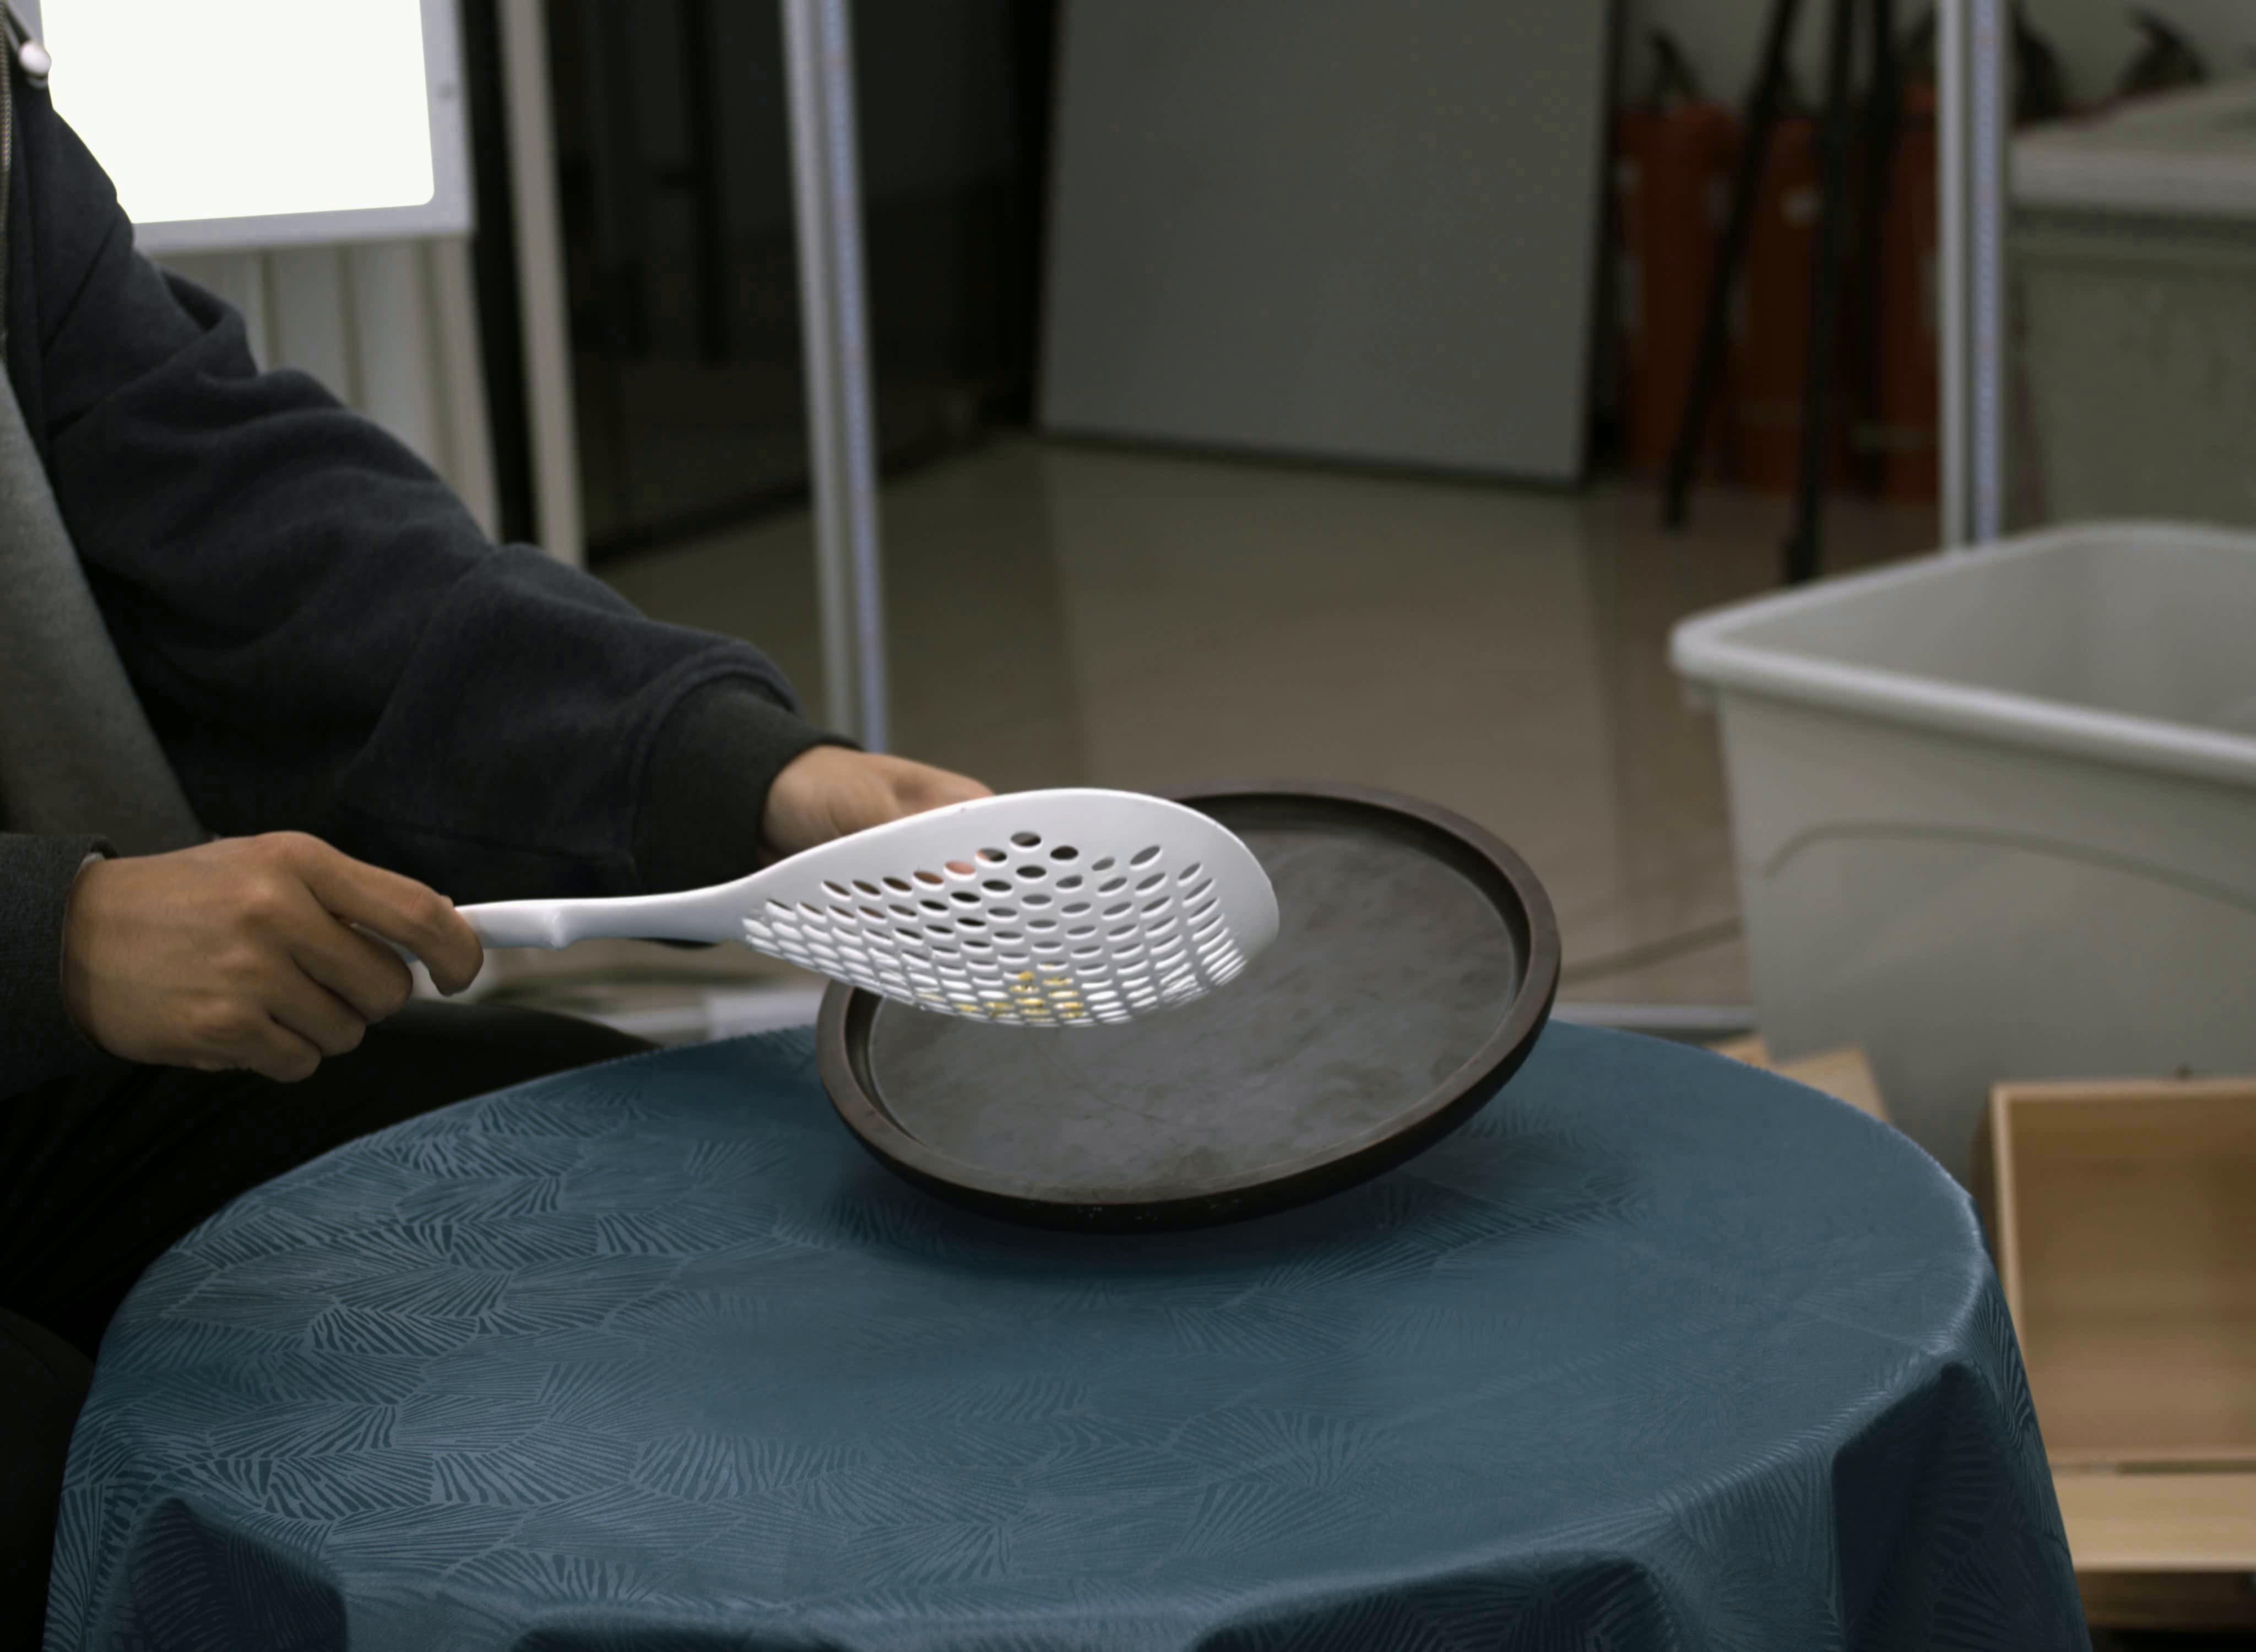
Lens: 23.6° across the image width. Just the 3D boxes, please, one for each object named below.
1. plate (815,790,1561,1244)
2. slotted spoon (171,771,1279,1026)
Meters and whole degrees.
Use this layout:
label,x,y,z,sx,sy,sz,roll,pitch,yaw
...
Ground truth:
label,x,y,z,sx,sy,sz,roll,pitch,yaw
plate,0.020,0.061,1.789,0.252,0.029,0.256,-10,31,5
slotted spoon,-0.125,0.034,1.669,0.346,0.051,0.136,0,-28,13
